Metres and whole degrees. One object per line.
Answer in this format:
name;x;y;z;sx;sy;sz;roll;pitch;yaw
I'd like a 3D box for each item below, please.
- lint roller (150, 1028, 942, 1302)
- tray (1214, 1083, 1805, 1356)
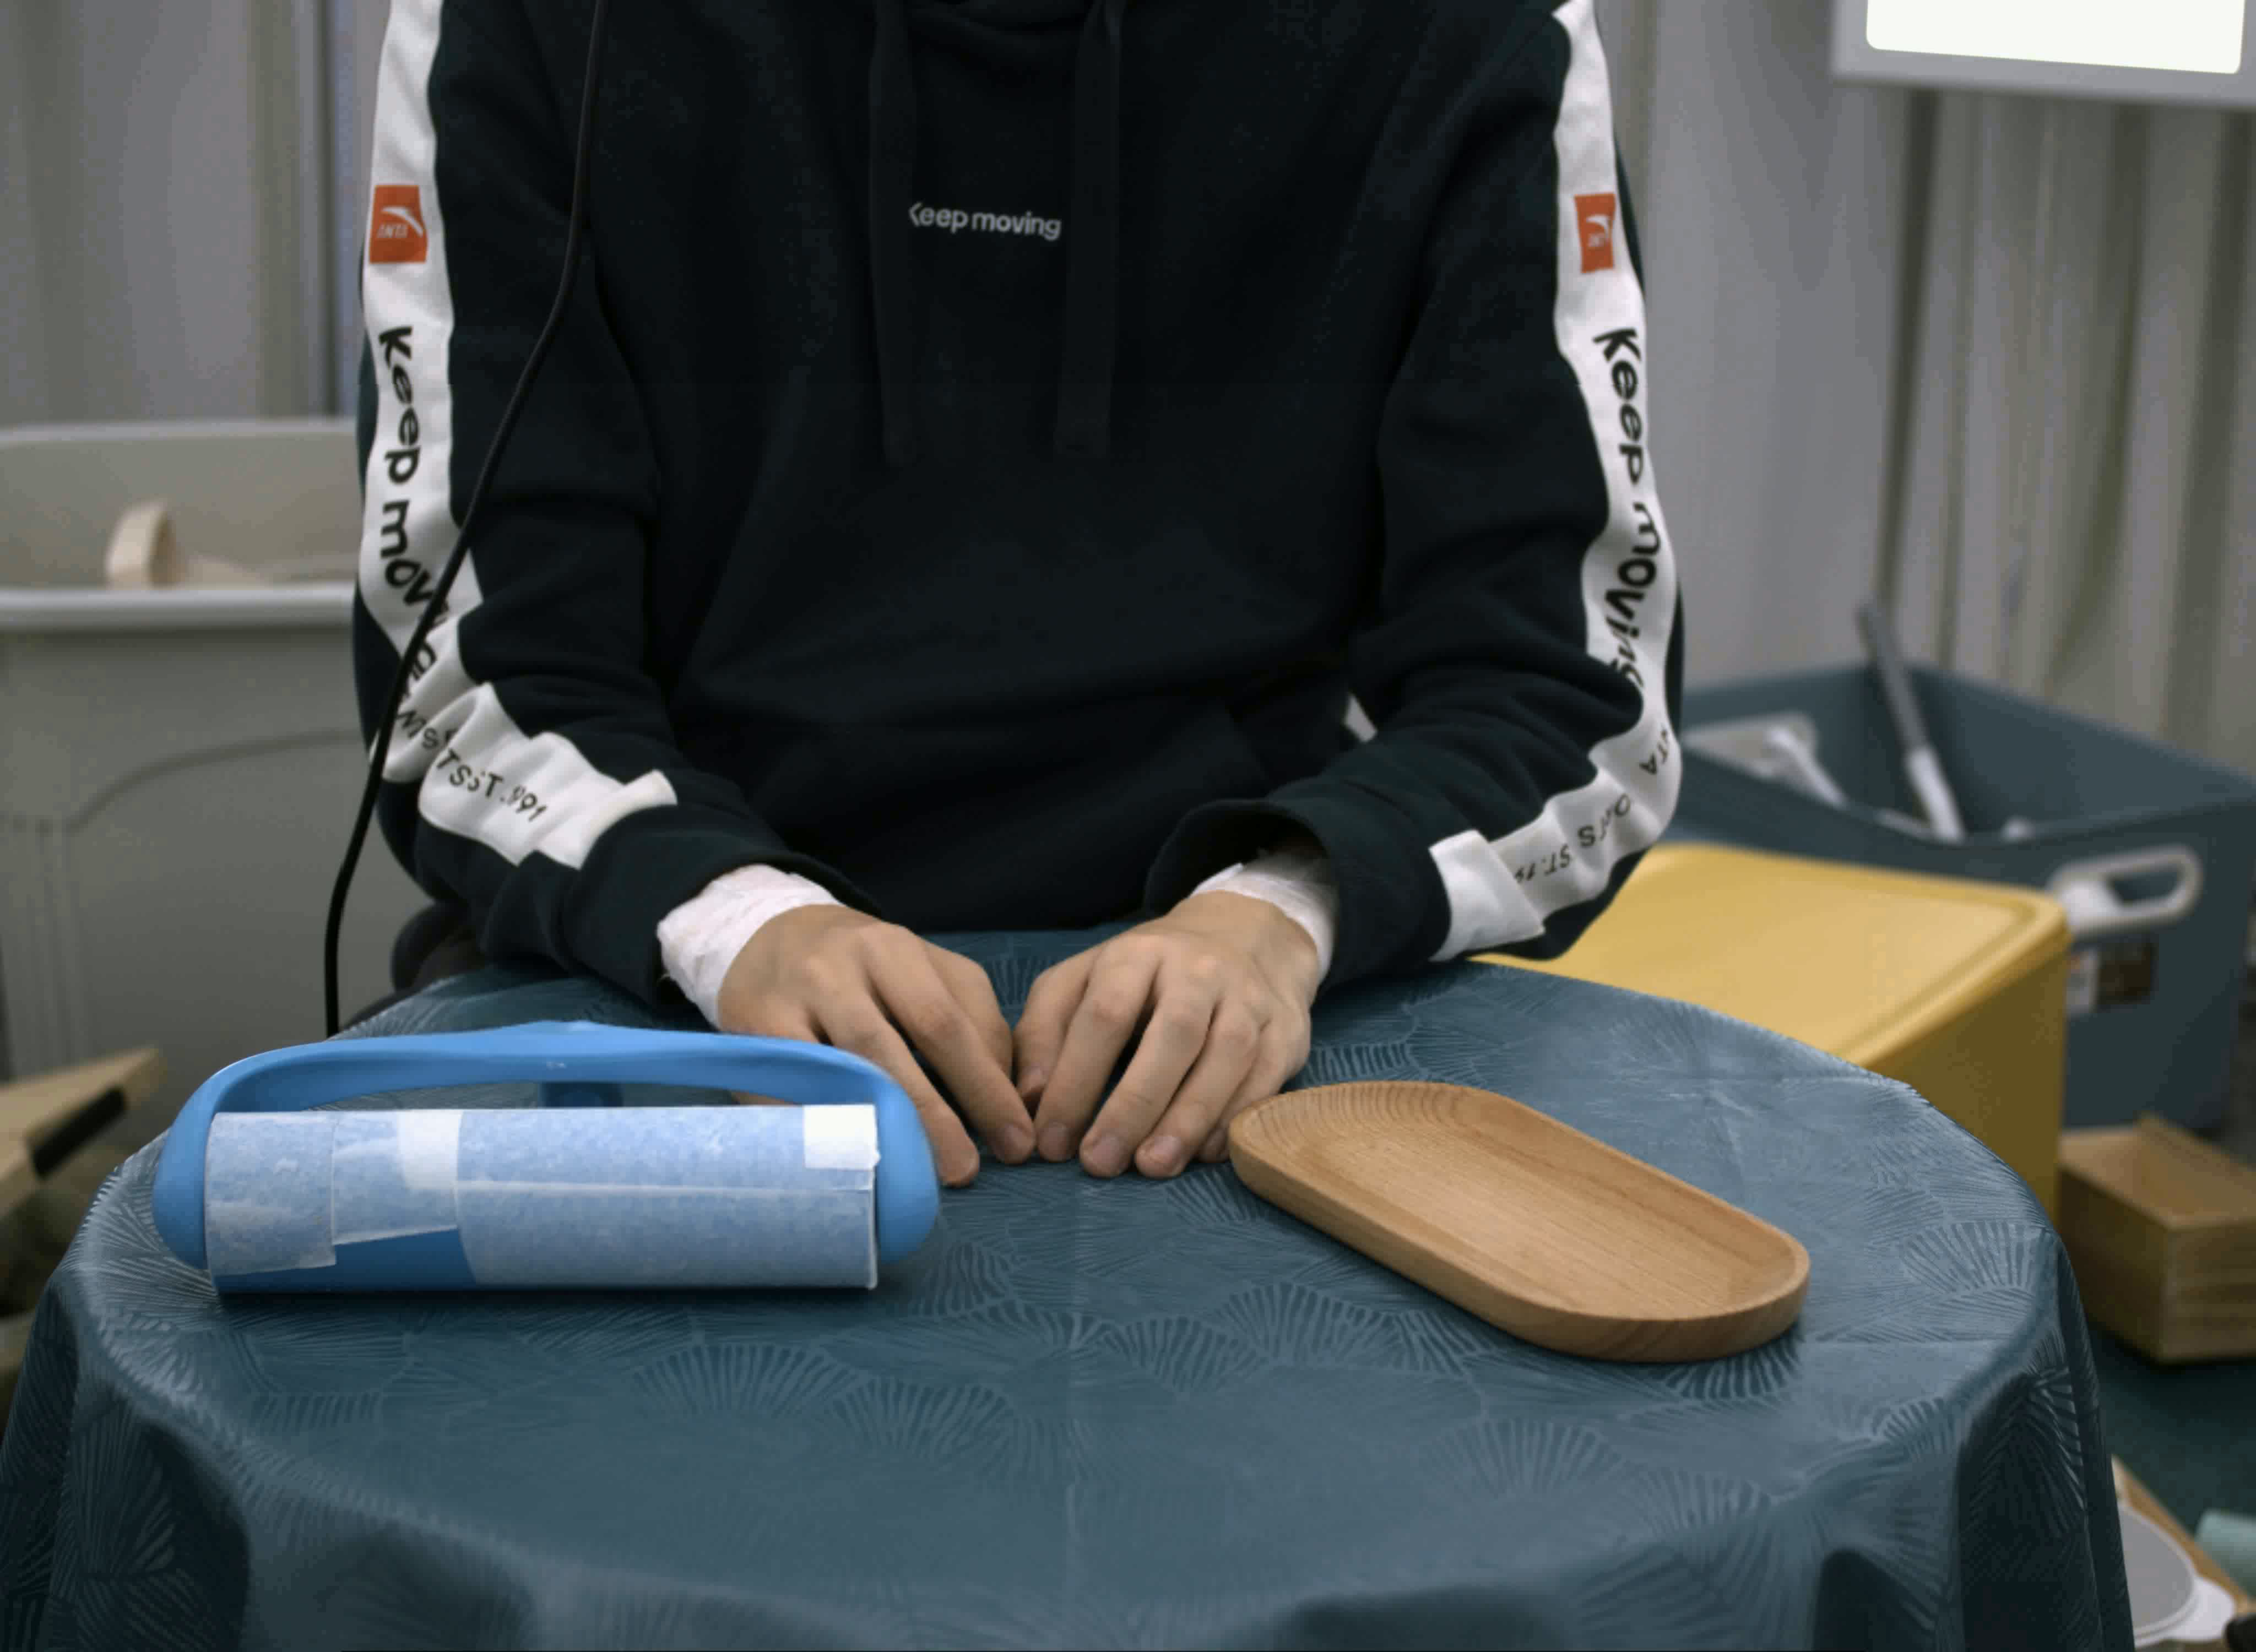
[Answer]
lint roller;-0.172;0.091;1.582;0.228;0.068;0.179;-3;17;-4
tray;0.111;0.116;1.580;0.102;0.020;0.228;-8;16;-31
